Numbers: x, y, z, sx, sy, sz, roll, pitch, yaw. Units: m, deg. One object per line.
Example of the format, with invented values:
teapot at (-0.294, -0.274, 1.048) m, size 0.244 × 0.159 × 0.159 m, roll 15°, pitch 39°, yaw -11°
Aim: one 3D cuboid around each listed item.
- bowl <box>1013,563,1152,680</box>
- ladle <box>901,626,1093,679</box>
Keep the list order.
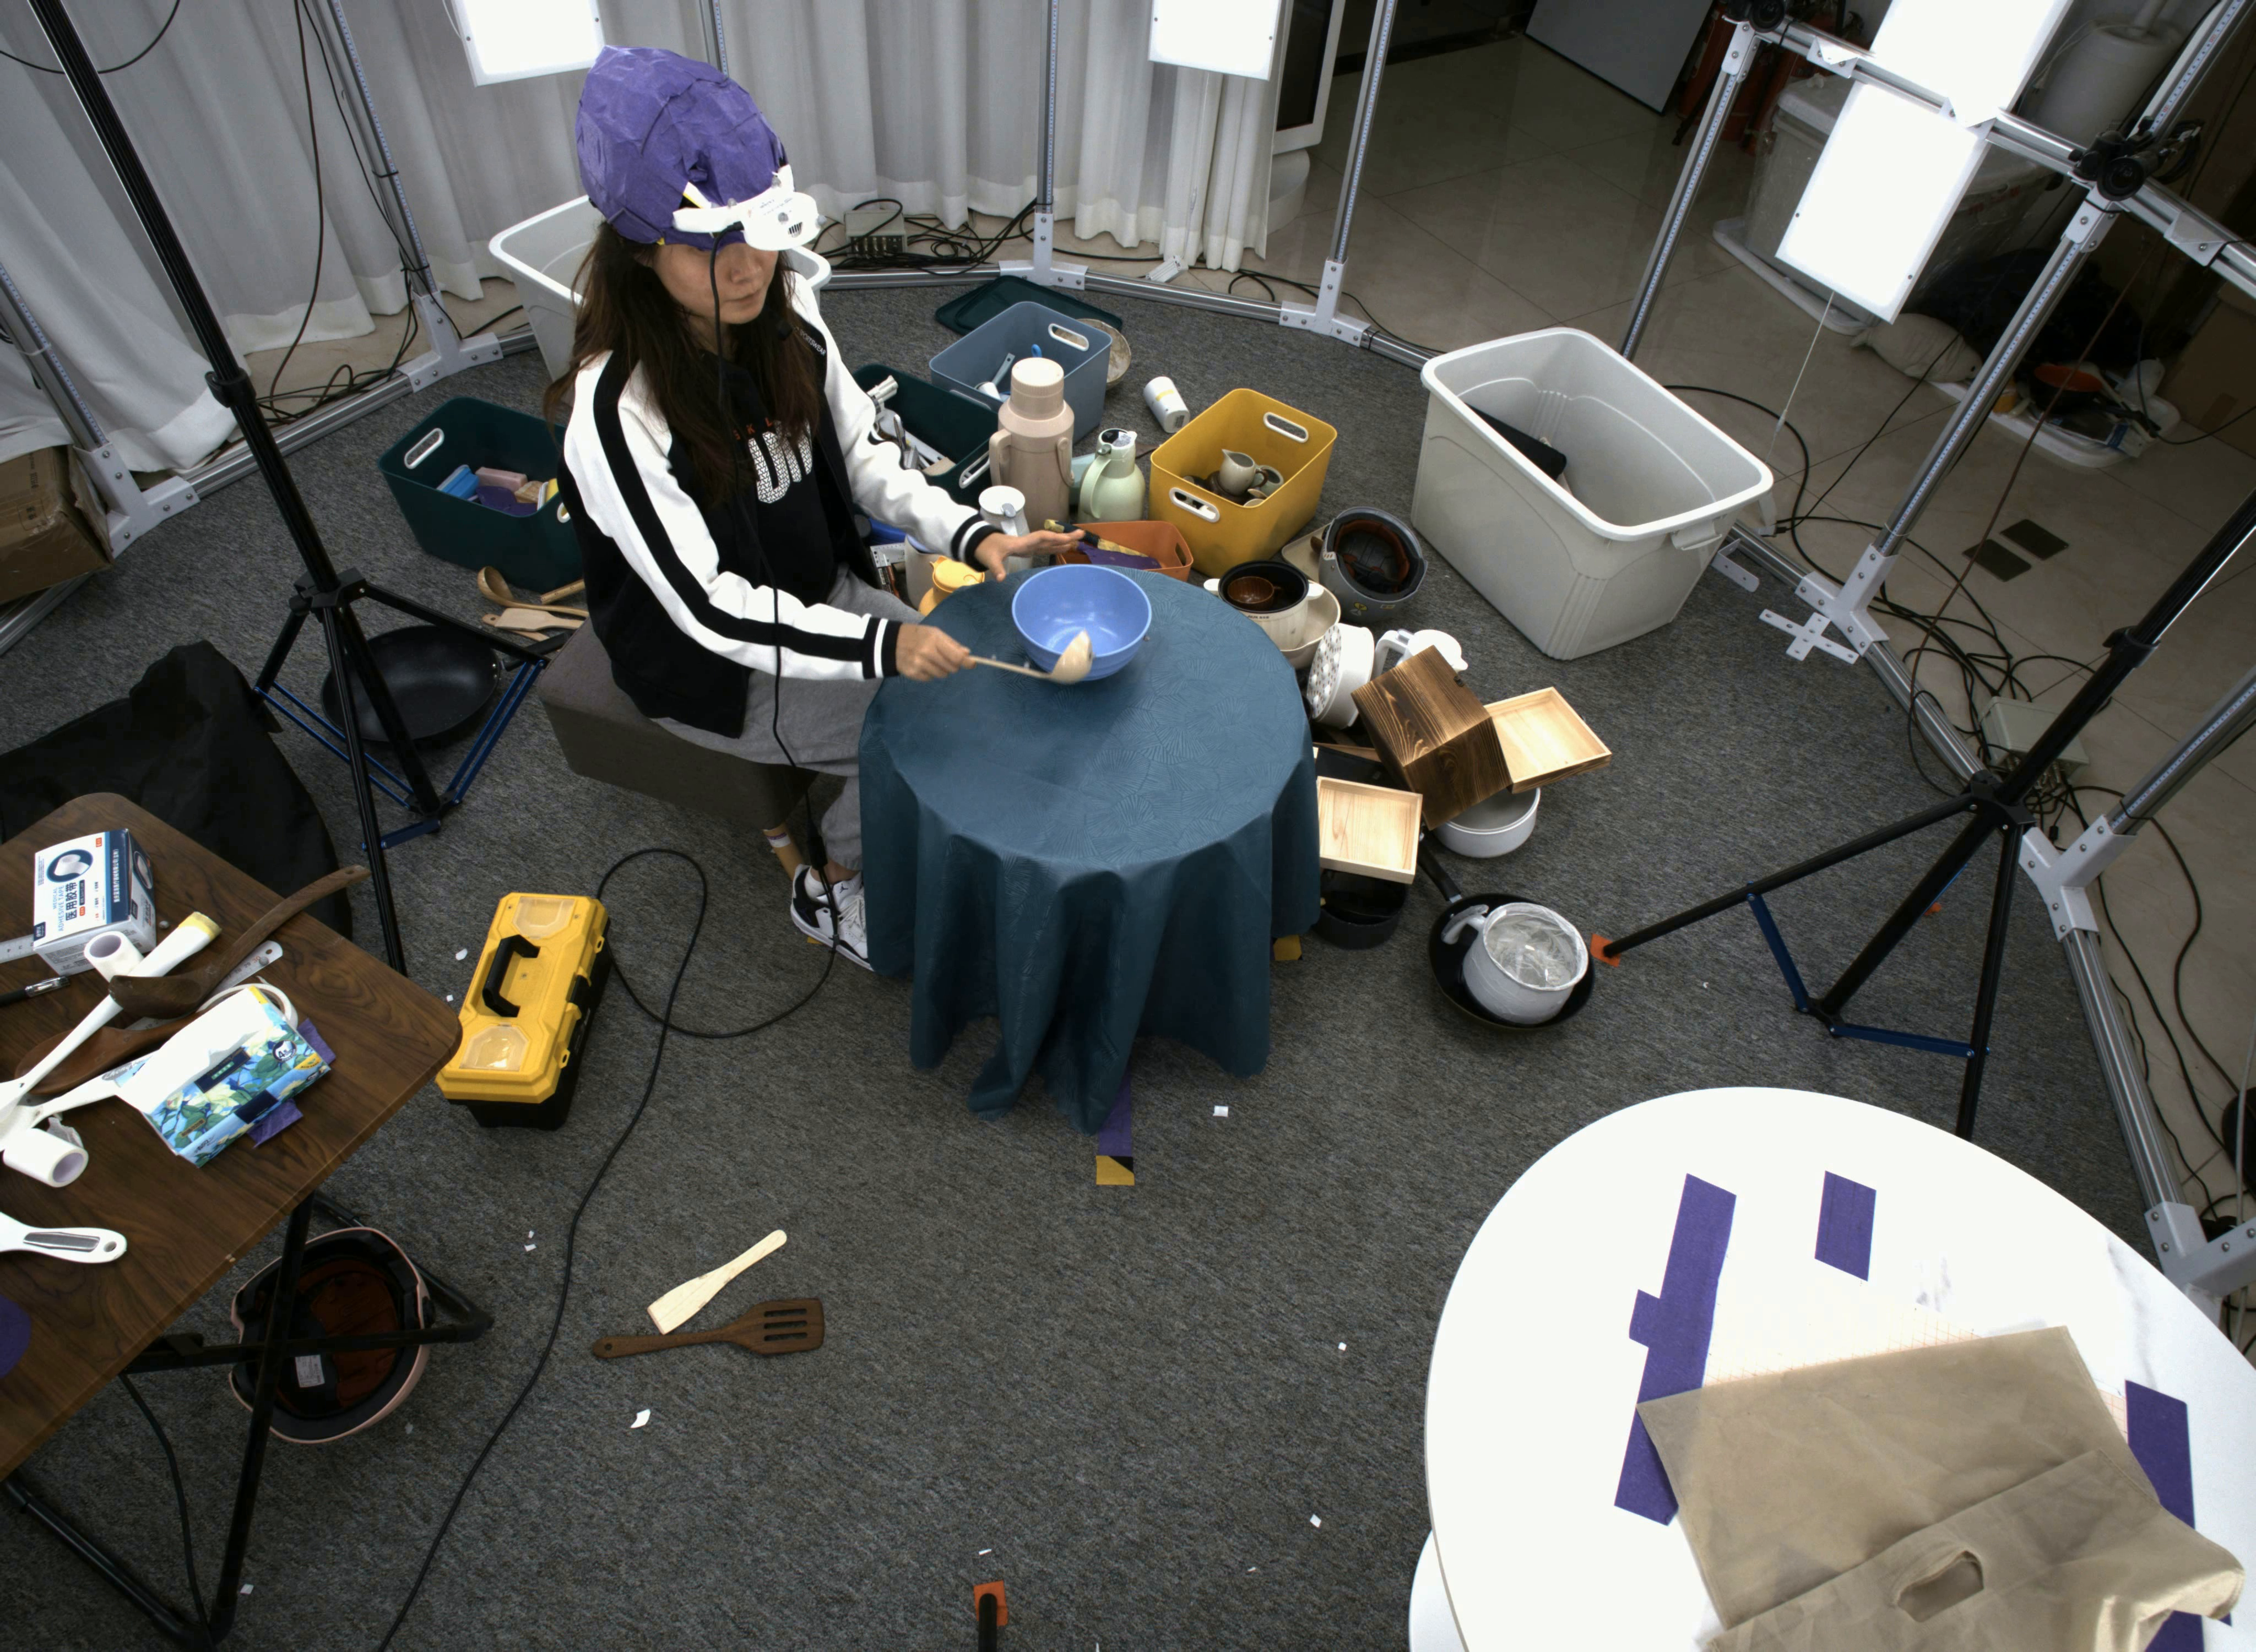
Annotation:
bowl at (-0.068, -0.278, 1.843) m, size 0.196 × 0.093 × 0.201 m, roll 4°, pitch 49°, yaw -5°
ladle at (-0.173, -0.247, 1.709) m, size 0.255 × 0.072 × 0.073 m, roll 10°, pitch 90°, yaw 8°
